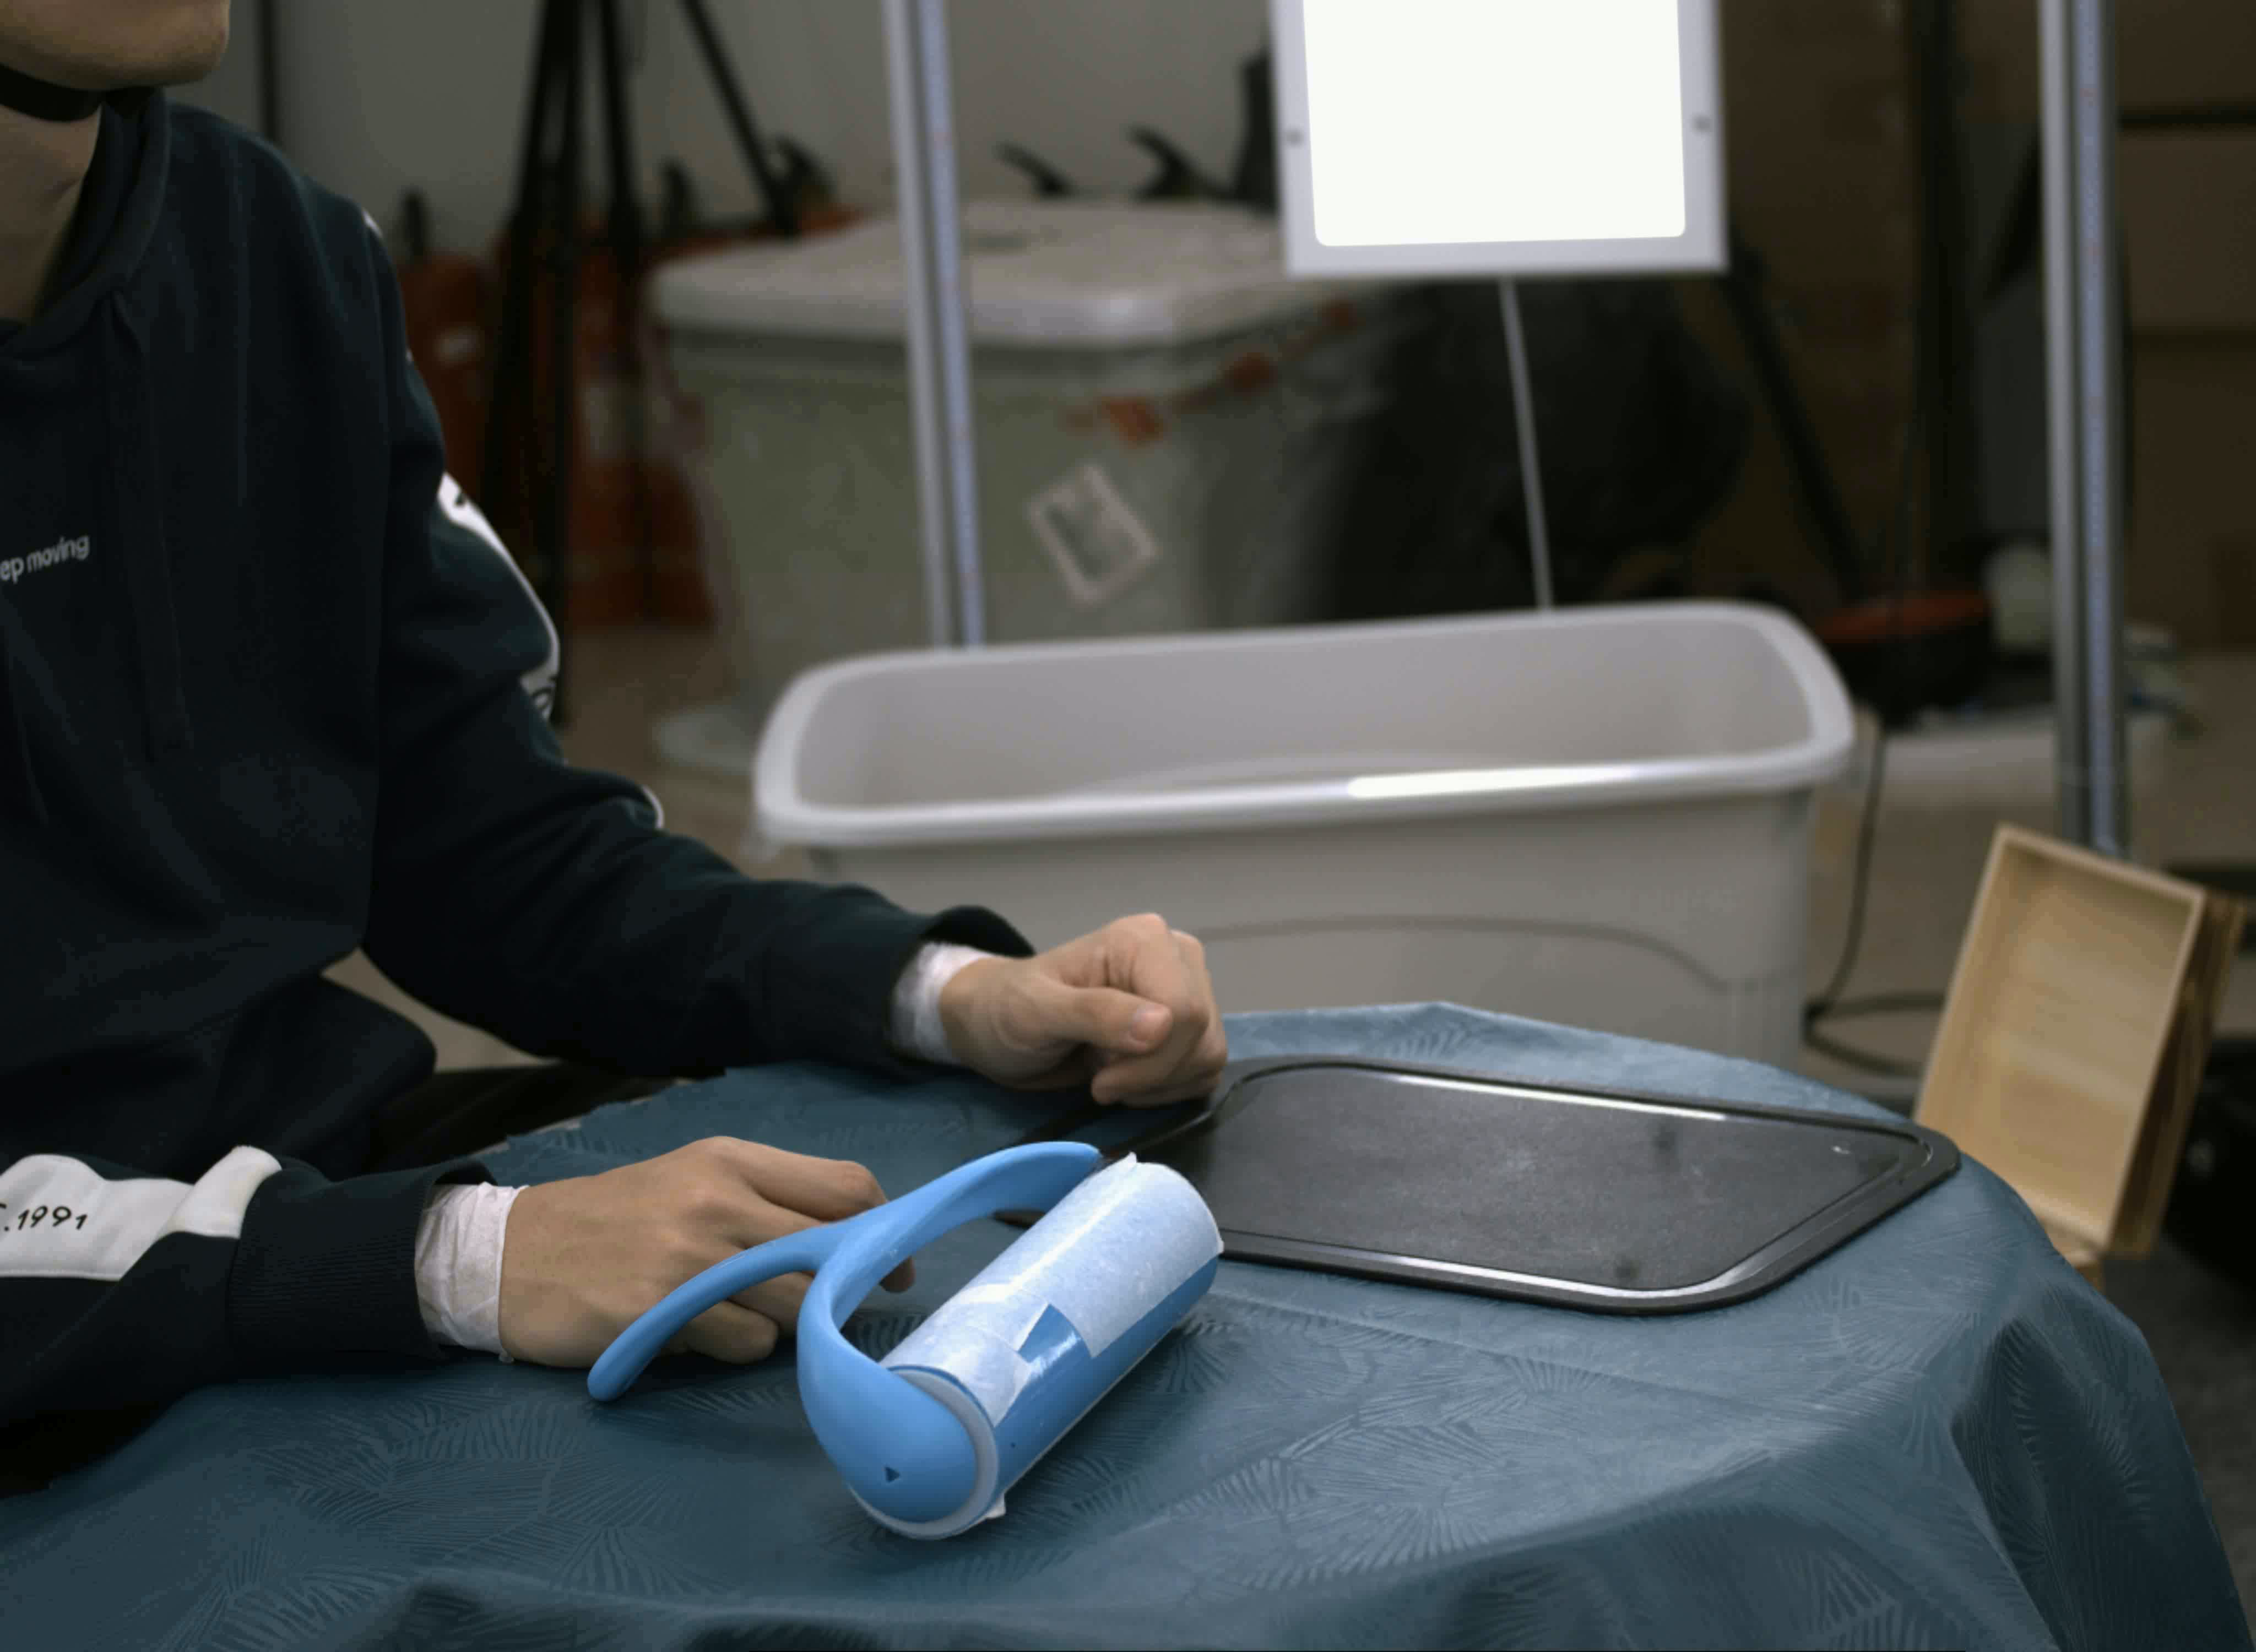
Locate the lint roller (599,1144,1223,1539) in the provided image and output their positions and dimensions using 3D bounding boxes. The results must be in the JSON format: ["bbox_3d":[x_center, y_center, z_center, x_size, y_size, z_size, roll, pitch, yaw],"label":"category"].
[{"bbox_3d":[-0.083,0.155,1.692,0.182,0.068,0.225,0,16,19],"label":"lint roller"}]

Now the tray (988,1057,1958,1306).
[{"bbox_3d":[0.108,0.117,1.879,0.332,0.010,0.206,5,17,37],"label":"tray"}]
